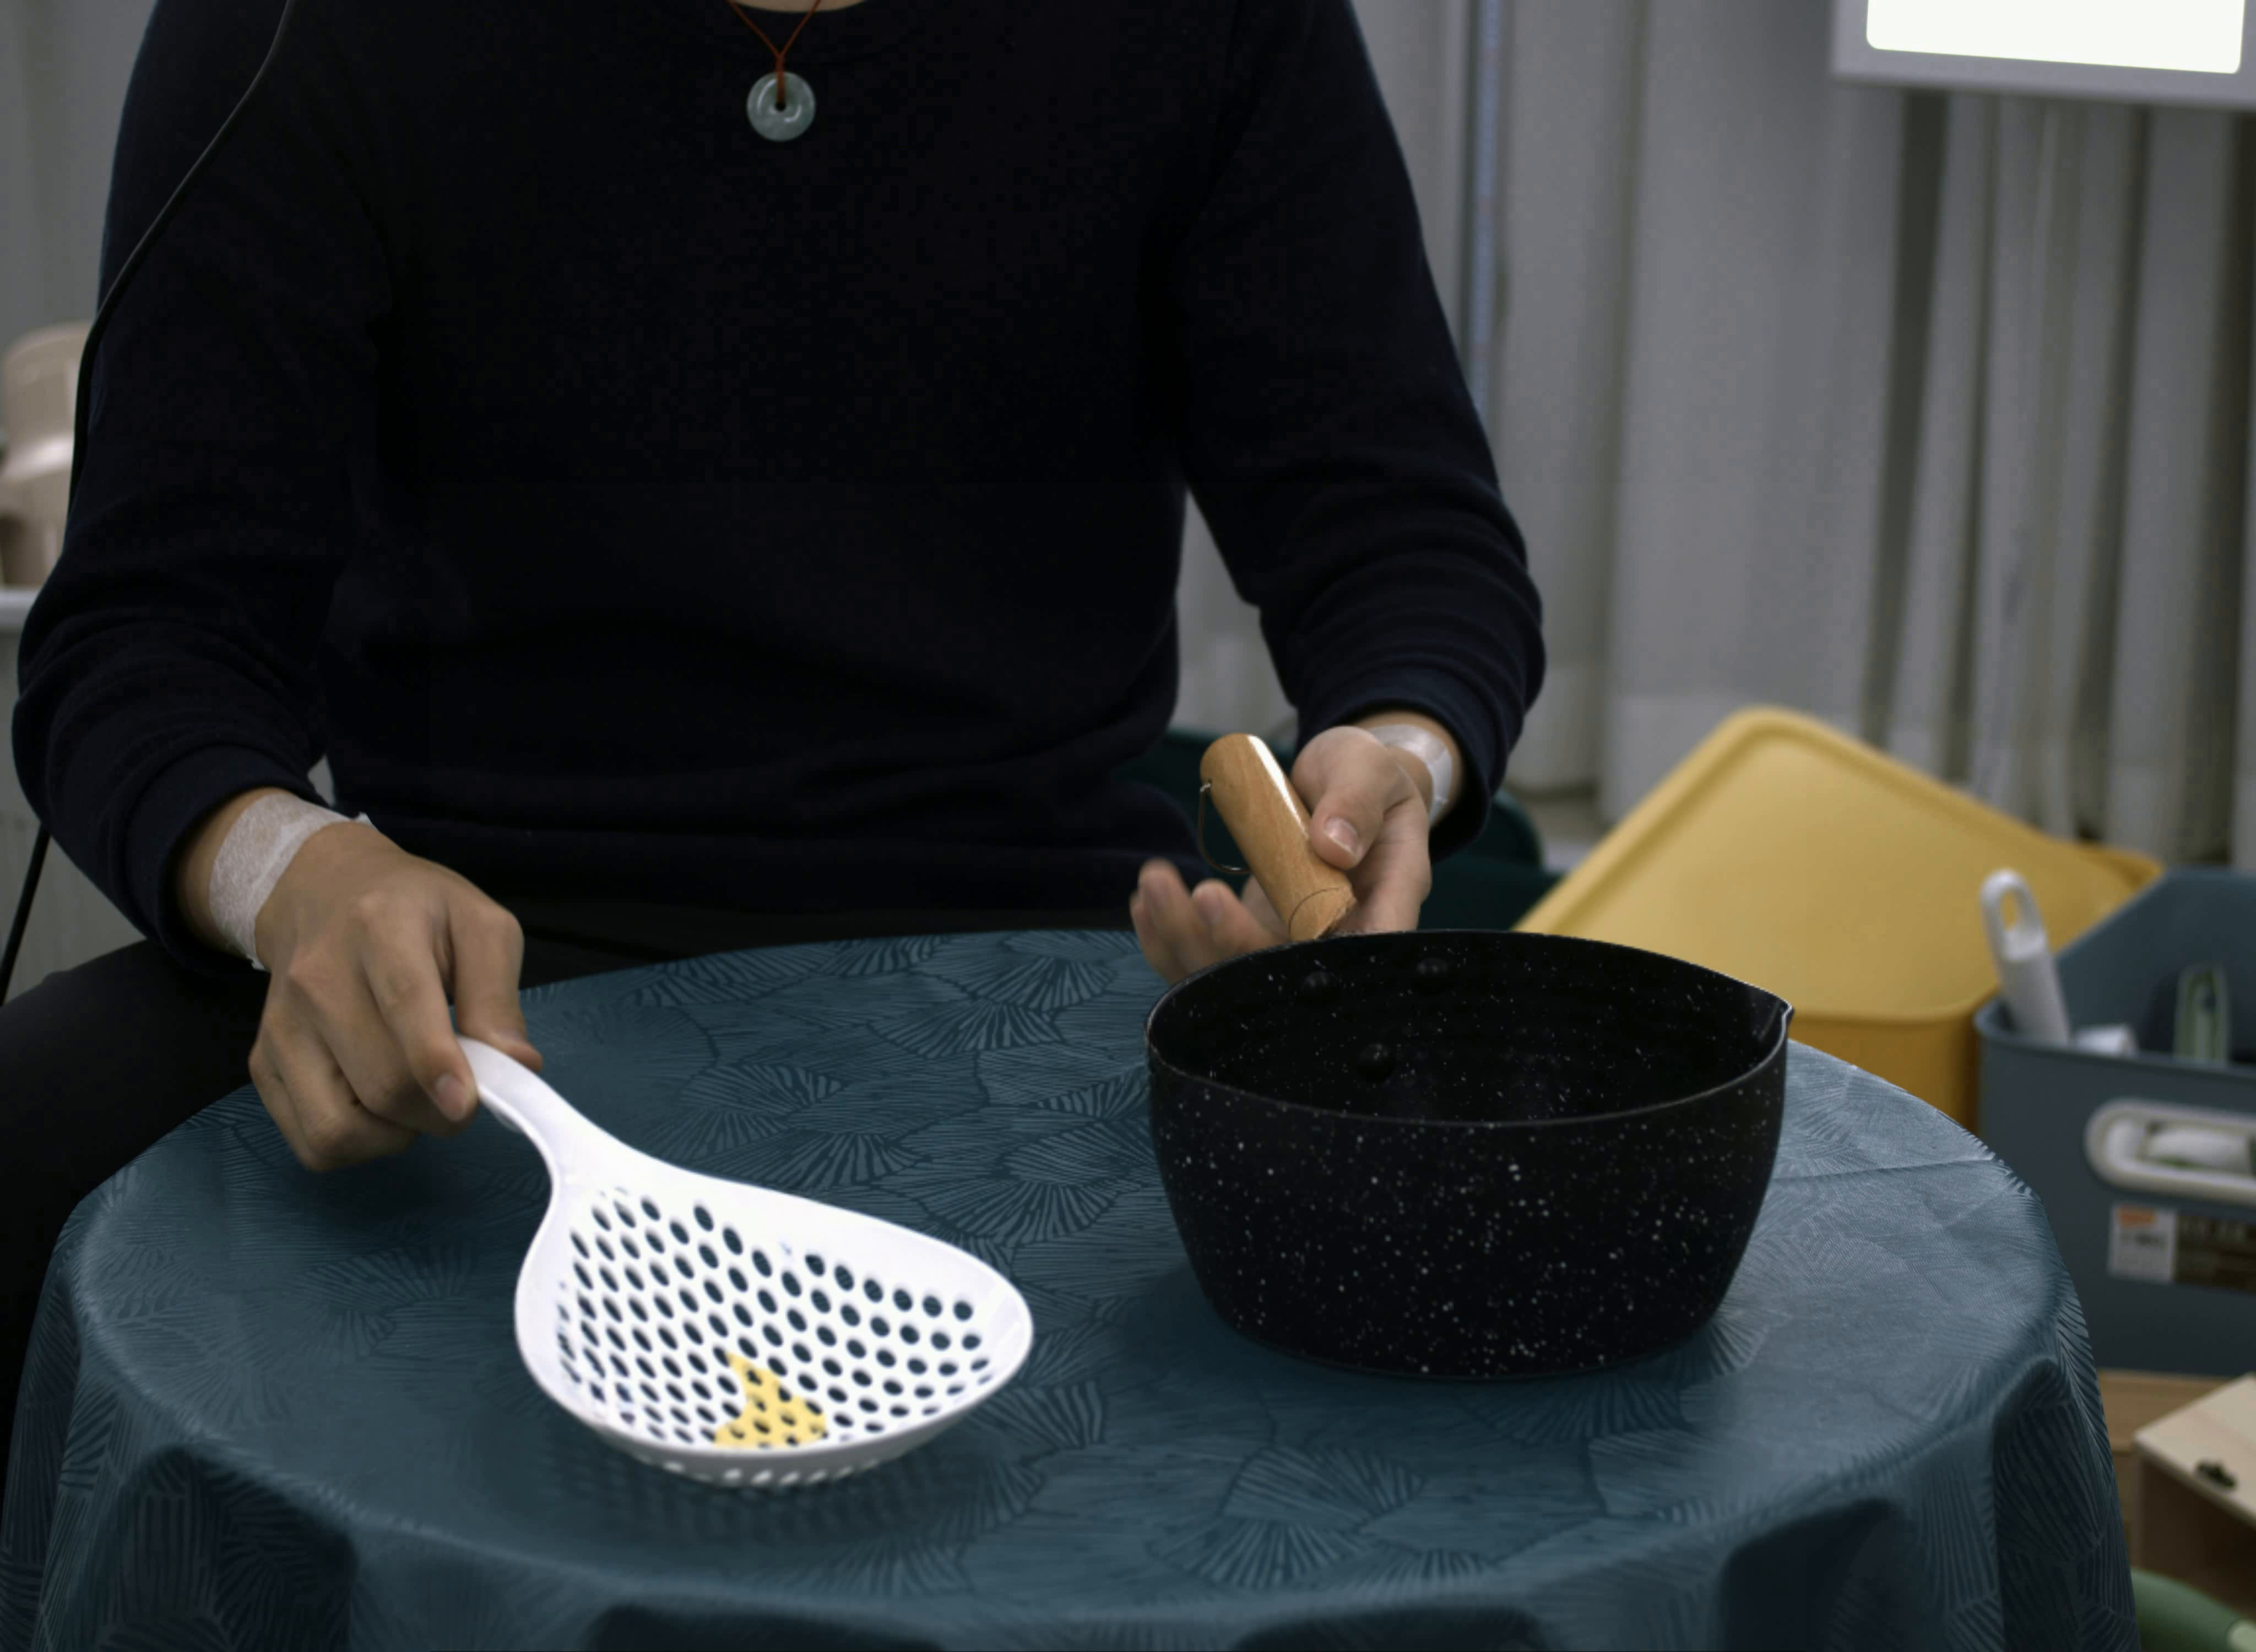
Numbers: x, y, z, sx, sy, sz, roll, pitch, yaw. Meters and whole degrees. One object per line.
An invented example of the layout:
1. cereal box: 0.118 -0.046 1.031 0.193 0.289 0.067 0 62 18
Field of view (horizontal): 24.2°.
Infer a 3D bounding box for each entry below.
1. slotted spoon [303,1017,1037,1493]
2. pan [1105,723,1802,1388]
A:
1. slotted spoon: -0.151 0.107 1.492 0.137 0.051 0.343 -16 32 -29
2. pan: 0.076 0.064 1.596 0.208 0.109 0.339 -5 18 -15
